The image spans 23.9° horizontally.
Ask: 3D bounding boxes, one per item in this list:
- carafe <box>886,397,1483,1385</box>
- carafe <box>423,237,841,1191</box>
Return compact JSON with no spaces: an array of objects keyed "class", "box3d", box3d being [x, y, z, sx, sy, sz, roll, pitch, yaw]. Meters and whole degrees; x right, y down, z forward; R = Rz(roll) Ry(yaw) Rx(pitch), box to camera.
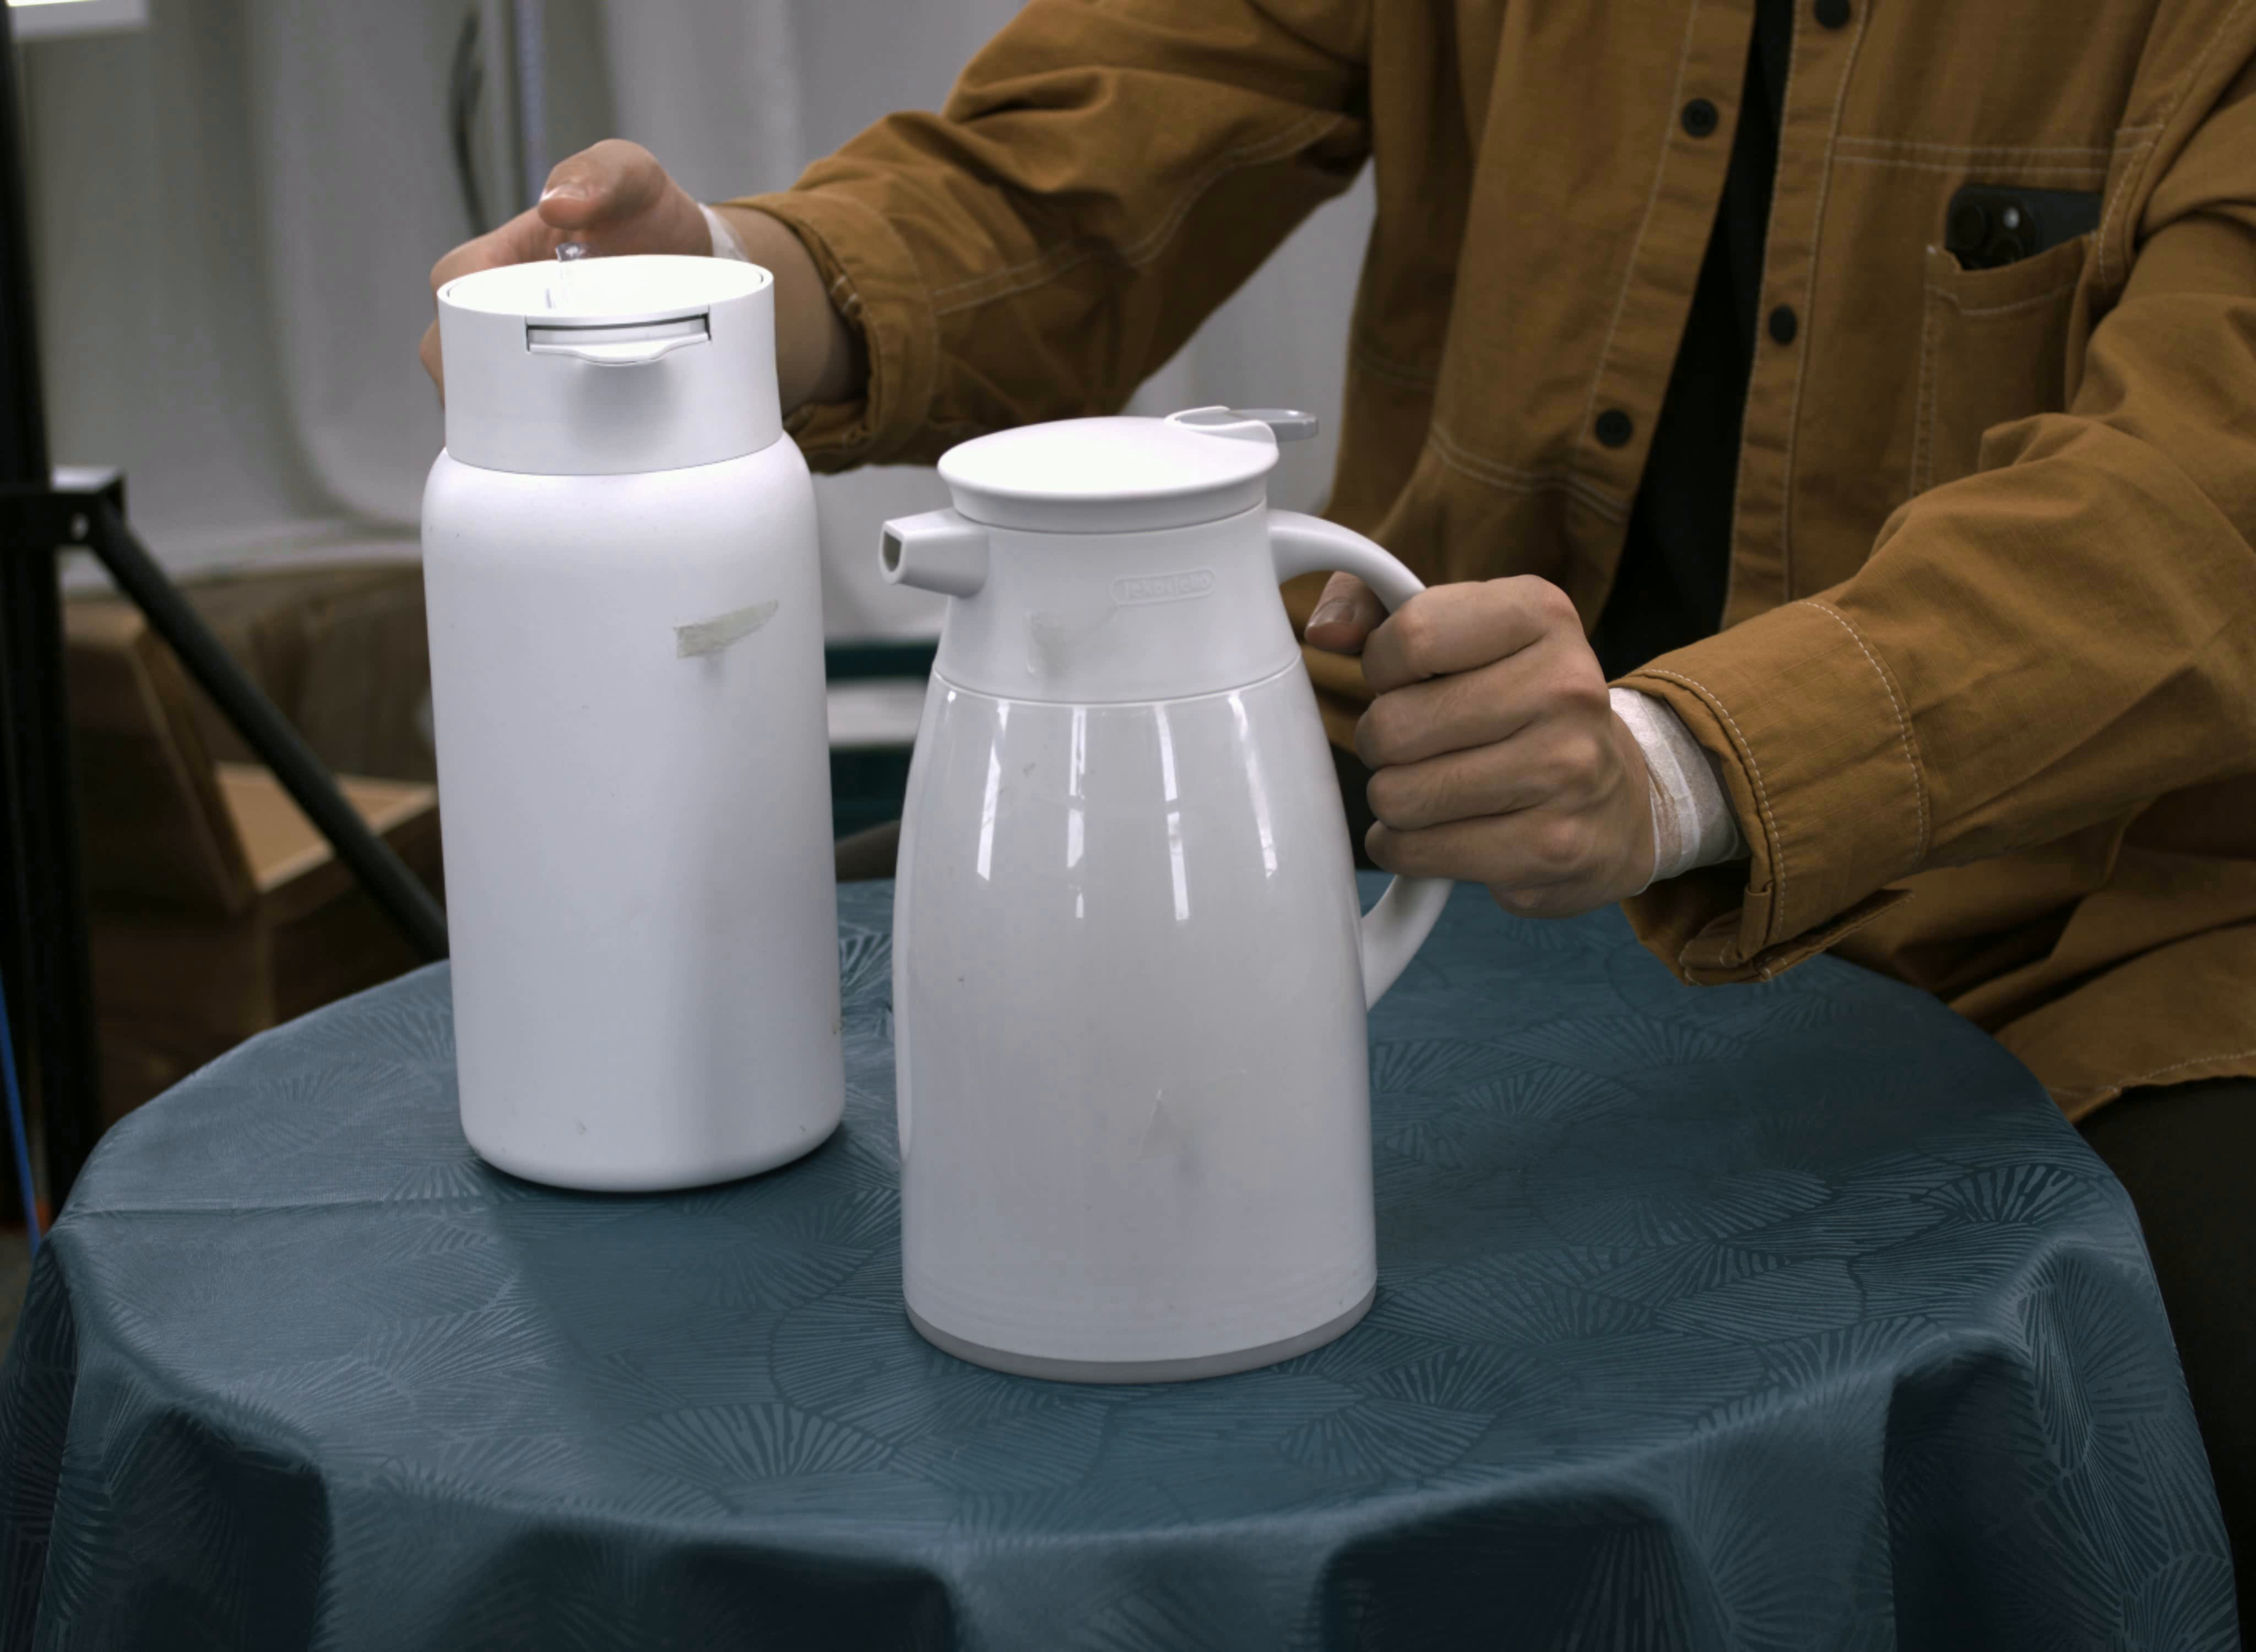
[{"class":"carafe","box3d":[0.017,0.009,1.446,0.165,0.248,0.135,-6,16,-19]},{"class":"carafe","box3d":[-0.152,-0.038,1.606,0.122,0.269,0.175,-6,15,-9]}]
